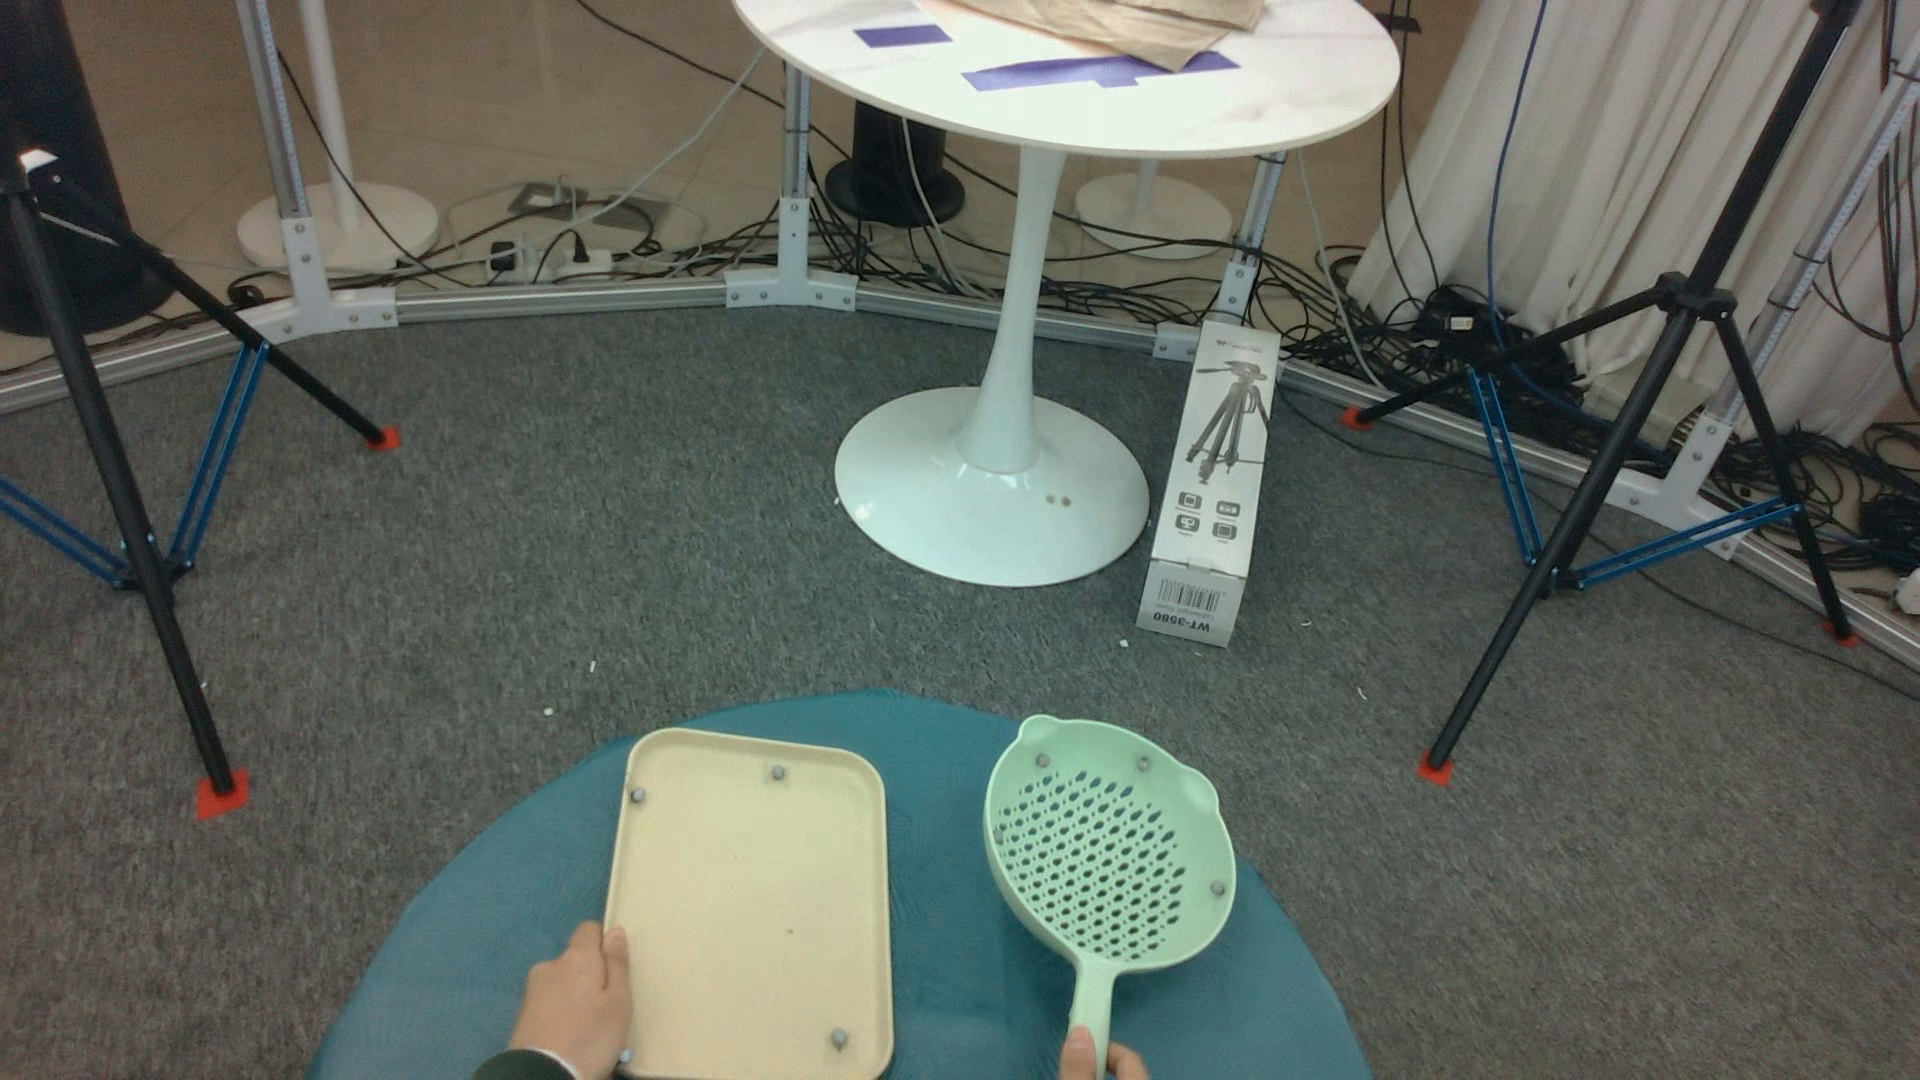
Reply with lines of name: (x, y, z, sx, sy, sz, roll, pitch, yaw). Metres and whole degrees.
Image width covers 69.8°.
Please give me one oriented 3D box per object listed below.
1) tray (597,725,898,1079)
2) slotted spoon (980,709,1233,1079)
tray: (-0.127, 0.215, 0.839, 0.171, 0.017, 0.240, 9, 40, -15)
slotted spoon: (0.074, 0.253, 0.793, 0.169, 0.075, 0.360, 19, 36, -6)
